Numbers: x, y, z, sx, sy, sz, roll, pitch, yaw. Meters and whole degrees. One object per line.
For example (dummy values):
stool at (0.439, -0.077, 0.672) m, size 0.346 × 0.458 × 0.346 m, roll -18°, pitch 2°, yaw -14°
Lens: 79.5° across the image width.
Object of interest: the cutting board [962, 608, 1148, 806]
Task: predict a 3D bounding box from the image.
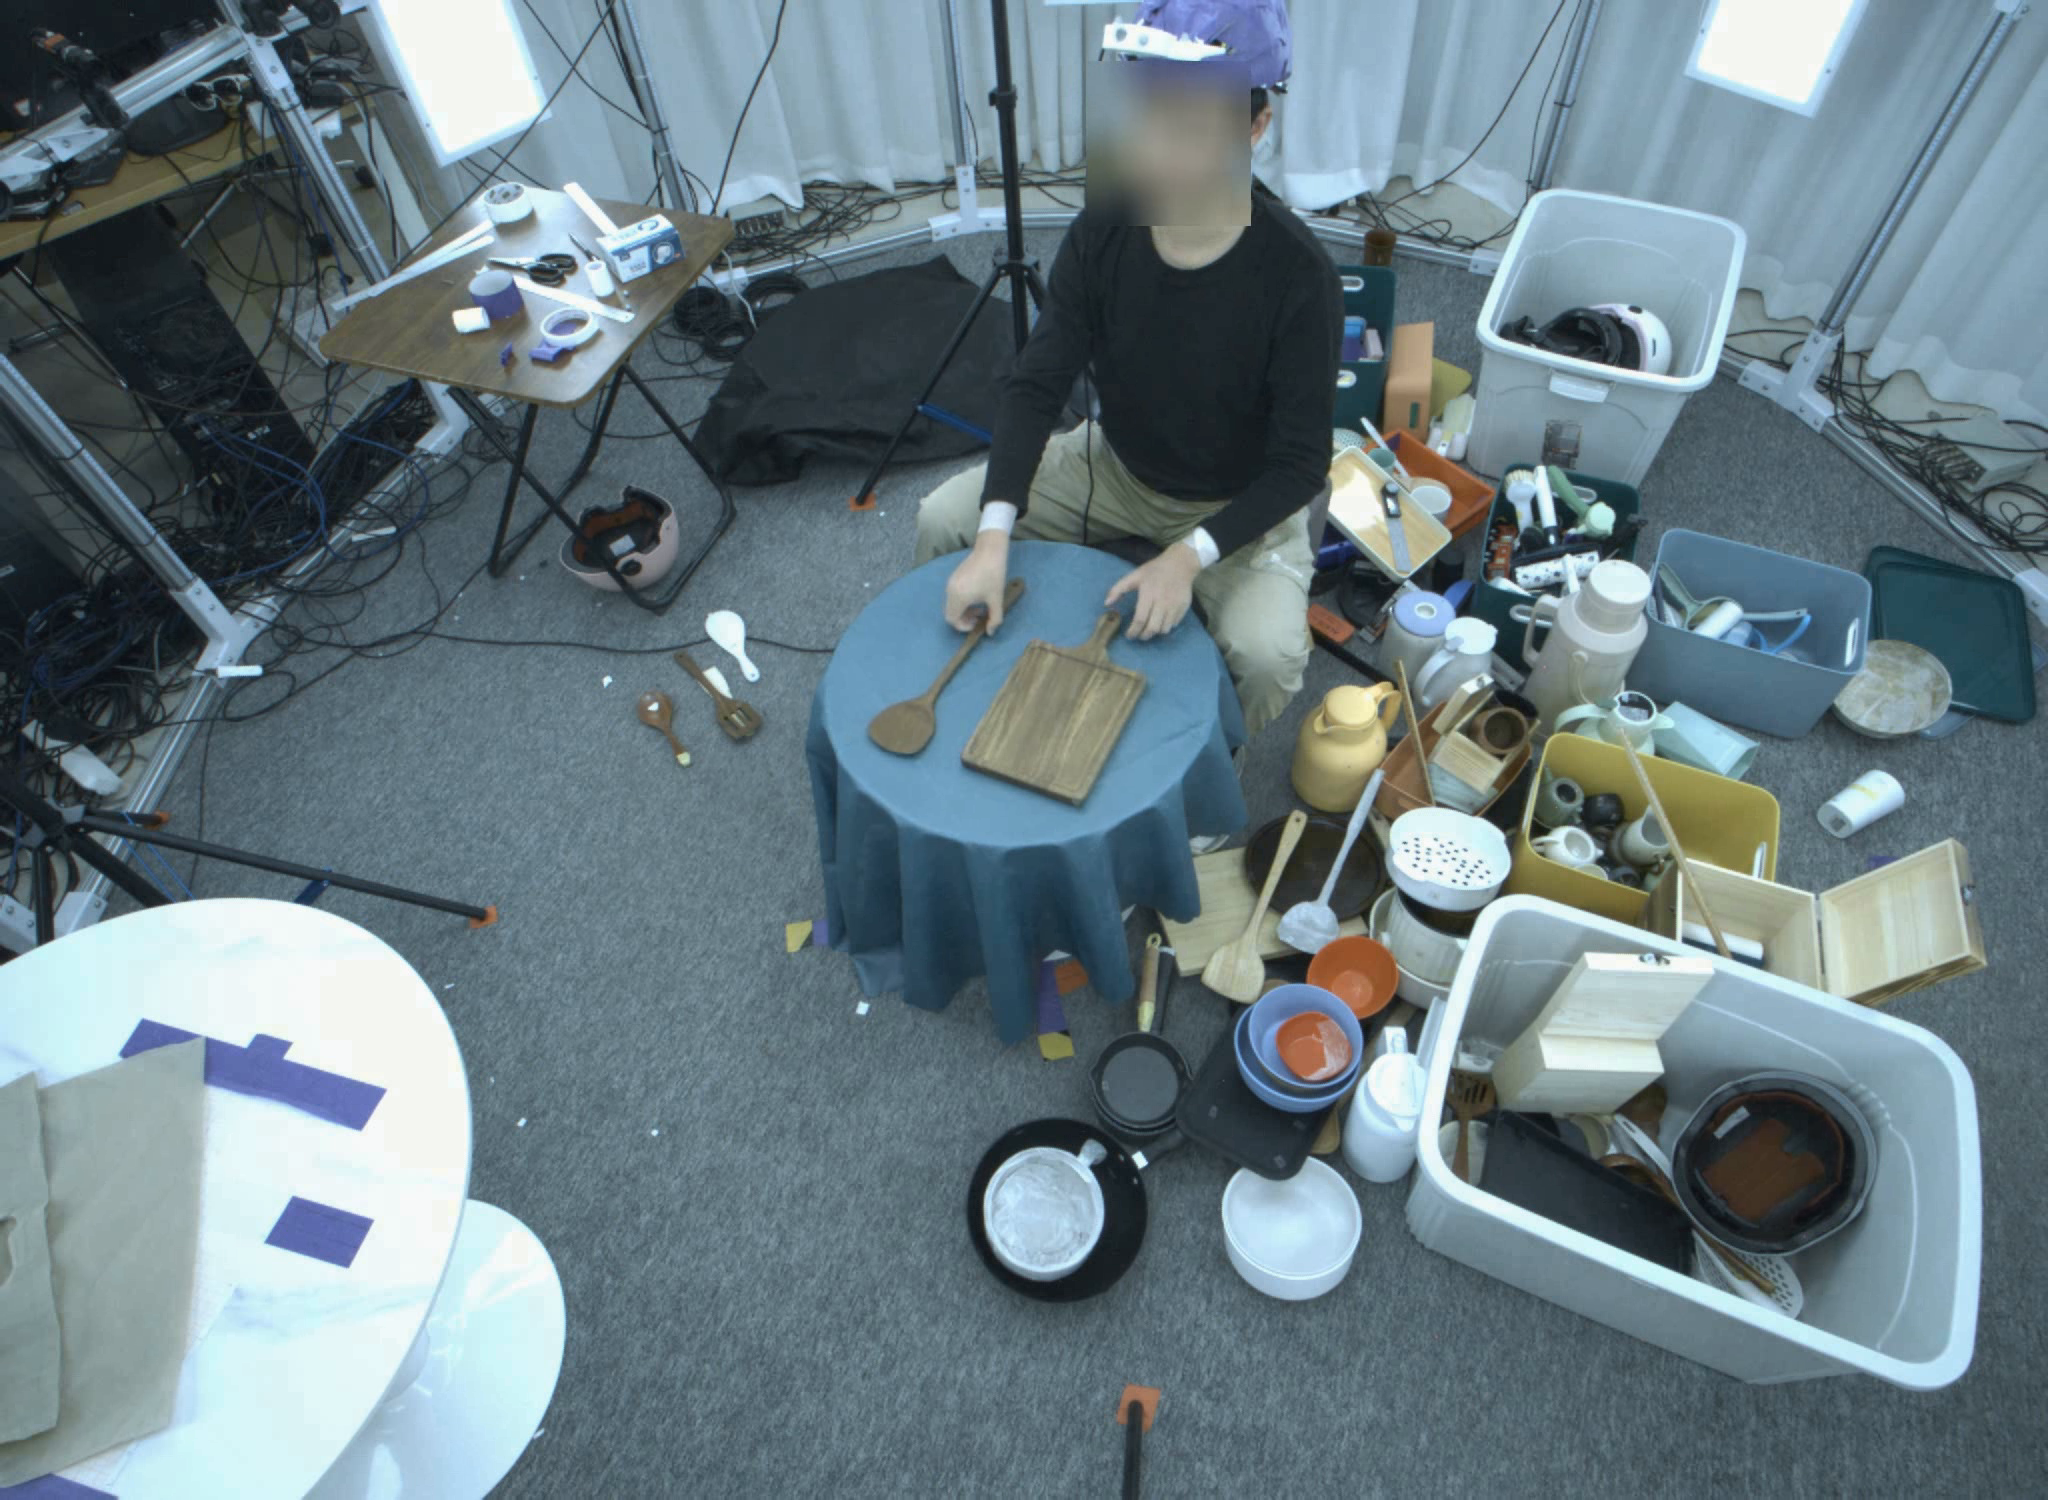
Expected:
cutting board at (0.068, -0.083, 1.831) m, size 0.199 × 0.023 × 0.352 m, roll 20°, pitch 58°, yaw 15°

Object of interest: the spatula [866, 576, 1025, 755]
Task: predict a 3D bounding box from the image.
spatula at (-0.104, -0.141, 1.878) m, size 0.095 × 0.016 × 0.387 m, roll 26°, pitch 61°, yaw 18°
